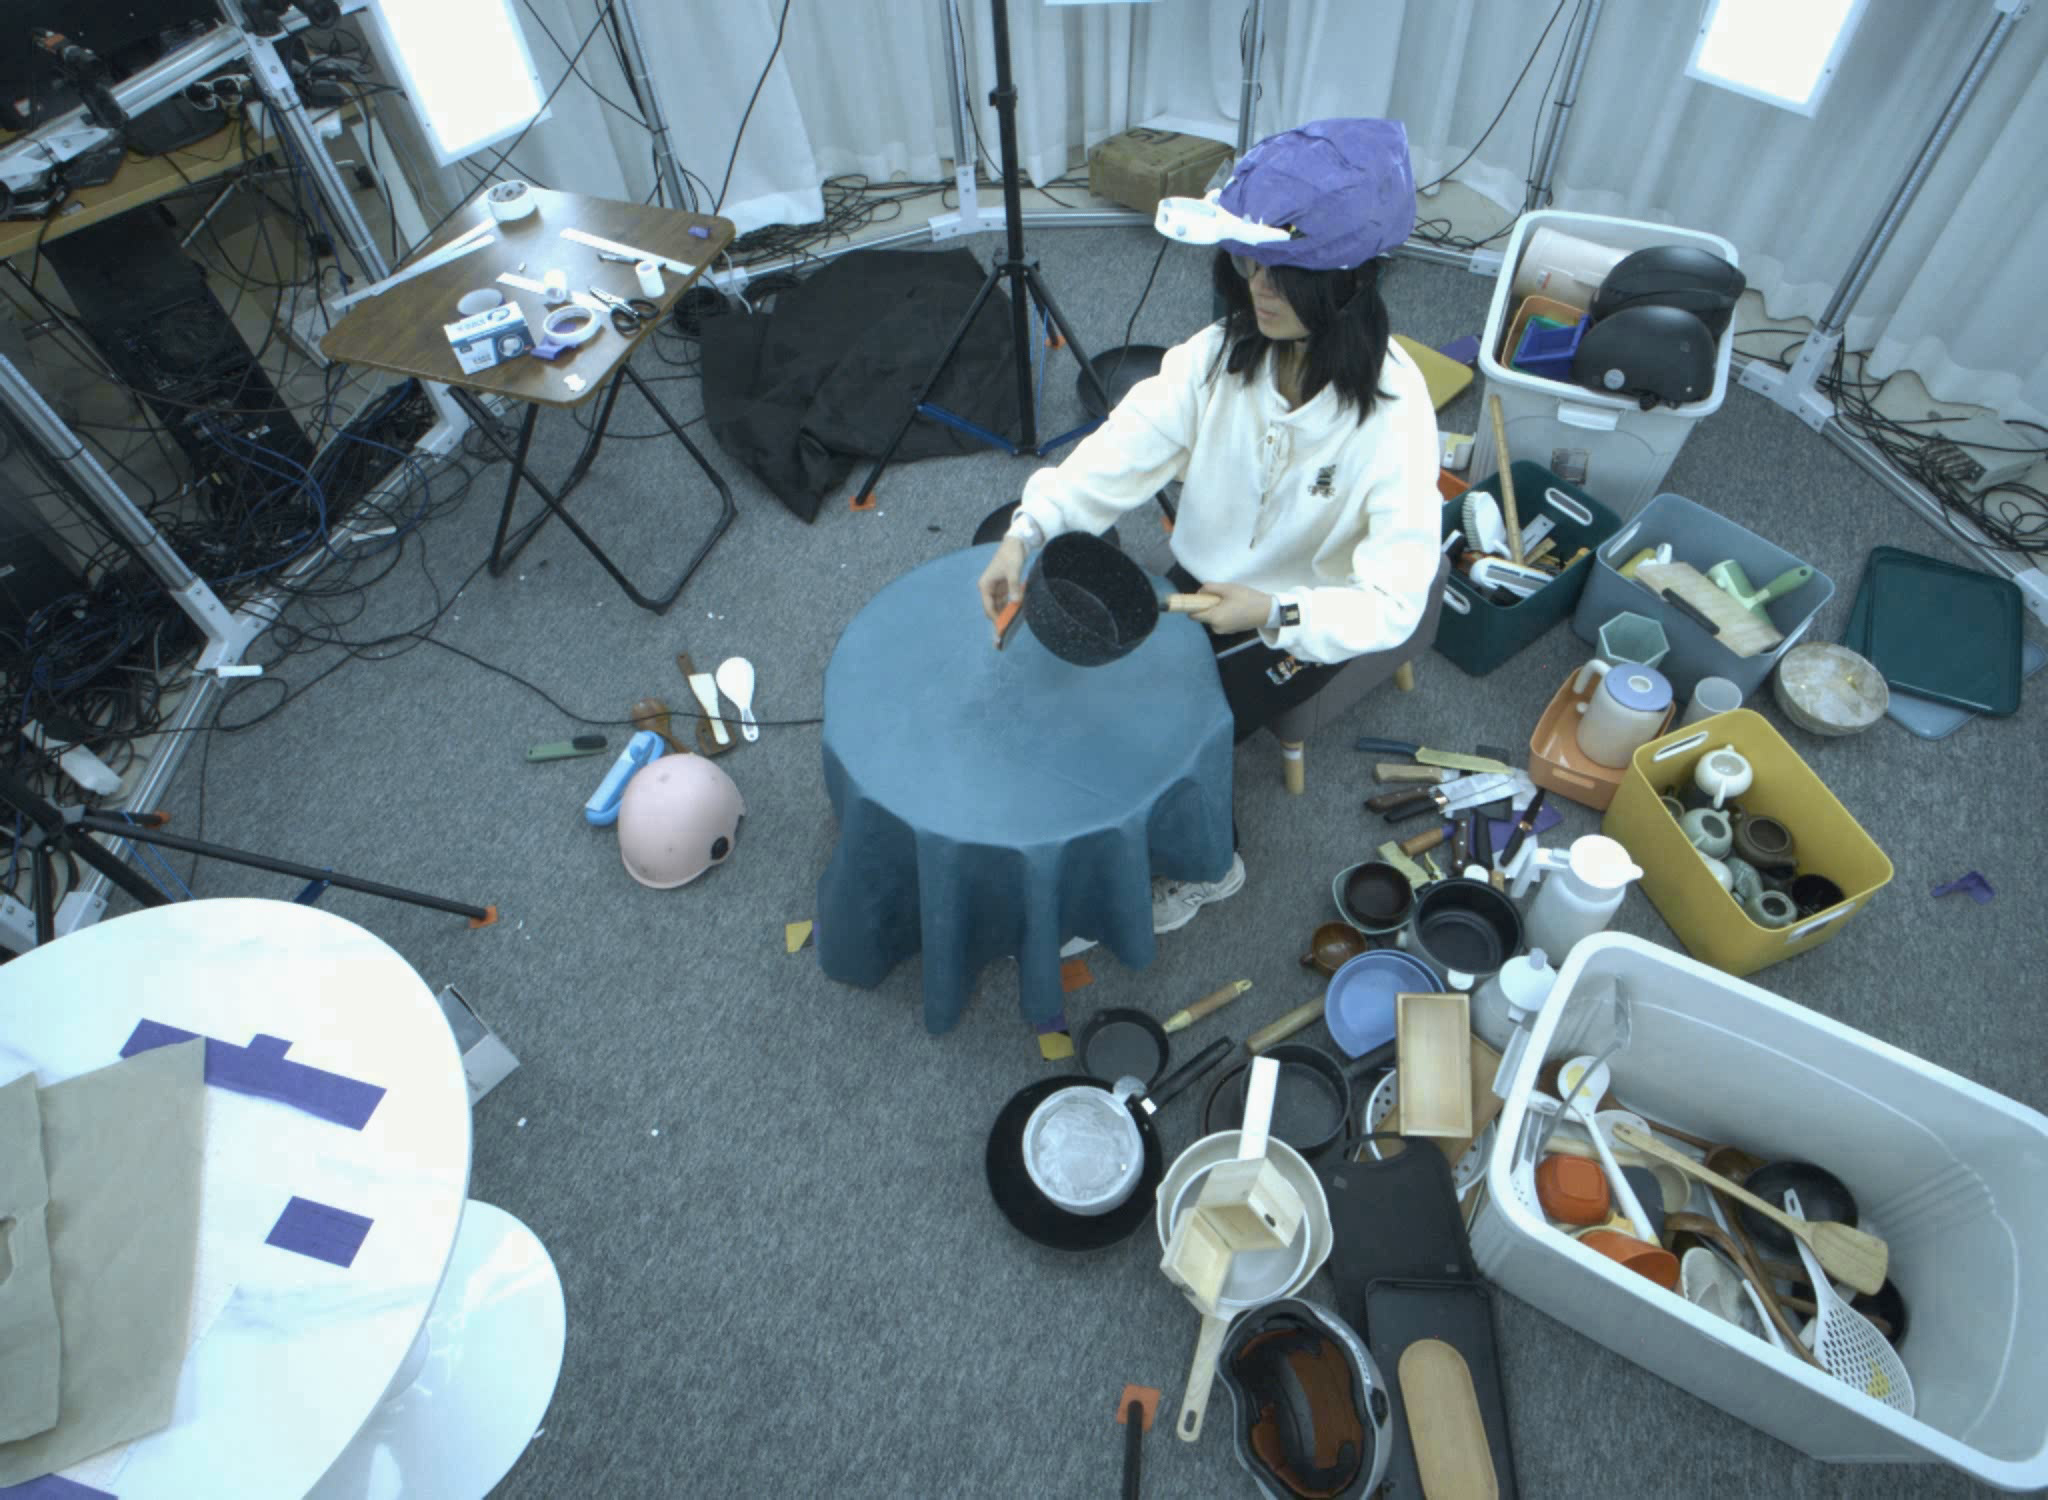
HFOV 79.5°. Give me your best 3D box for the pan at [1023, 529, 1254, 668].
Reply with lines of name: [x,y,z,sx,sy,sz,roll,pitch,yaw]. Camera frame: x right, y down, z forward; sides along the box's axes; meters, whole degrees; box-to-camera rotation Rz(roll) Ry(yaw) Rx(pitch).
pan: [0.157,-0.200,1.697,0.350,0.107,0.204,1,59,-32]

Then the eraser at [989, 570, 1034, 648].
eraser: [-0.012,-0.198,1.720,0.023,0.059,0.108,29,66,7]
